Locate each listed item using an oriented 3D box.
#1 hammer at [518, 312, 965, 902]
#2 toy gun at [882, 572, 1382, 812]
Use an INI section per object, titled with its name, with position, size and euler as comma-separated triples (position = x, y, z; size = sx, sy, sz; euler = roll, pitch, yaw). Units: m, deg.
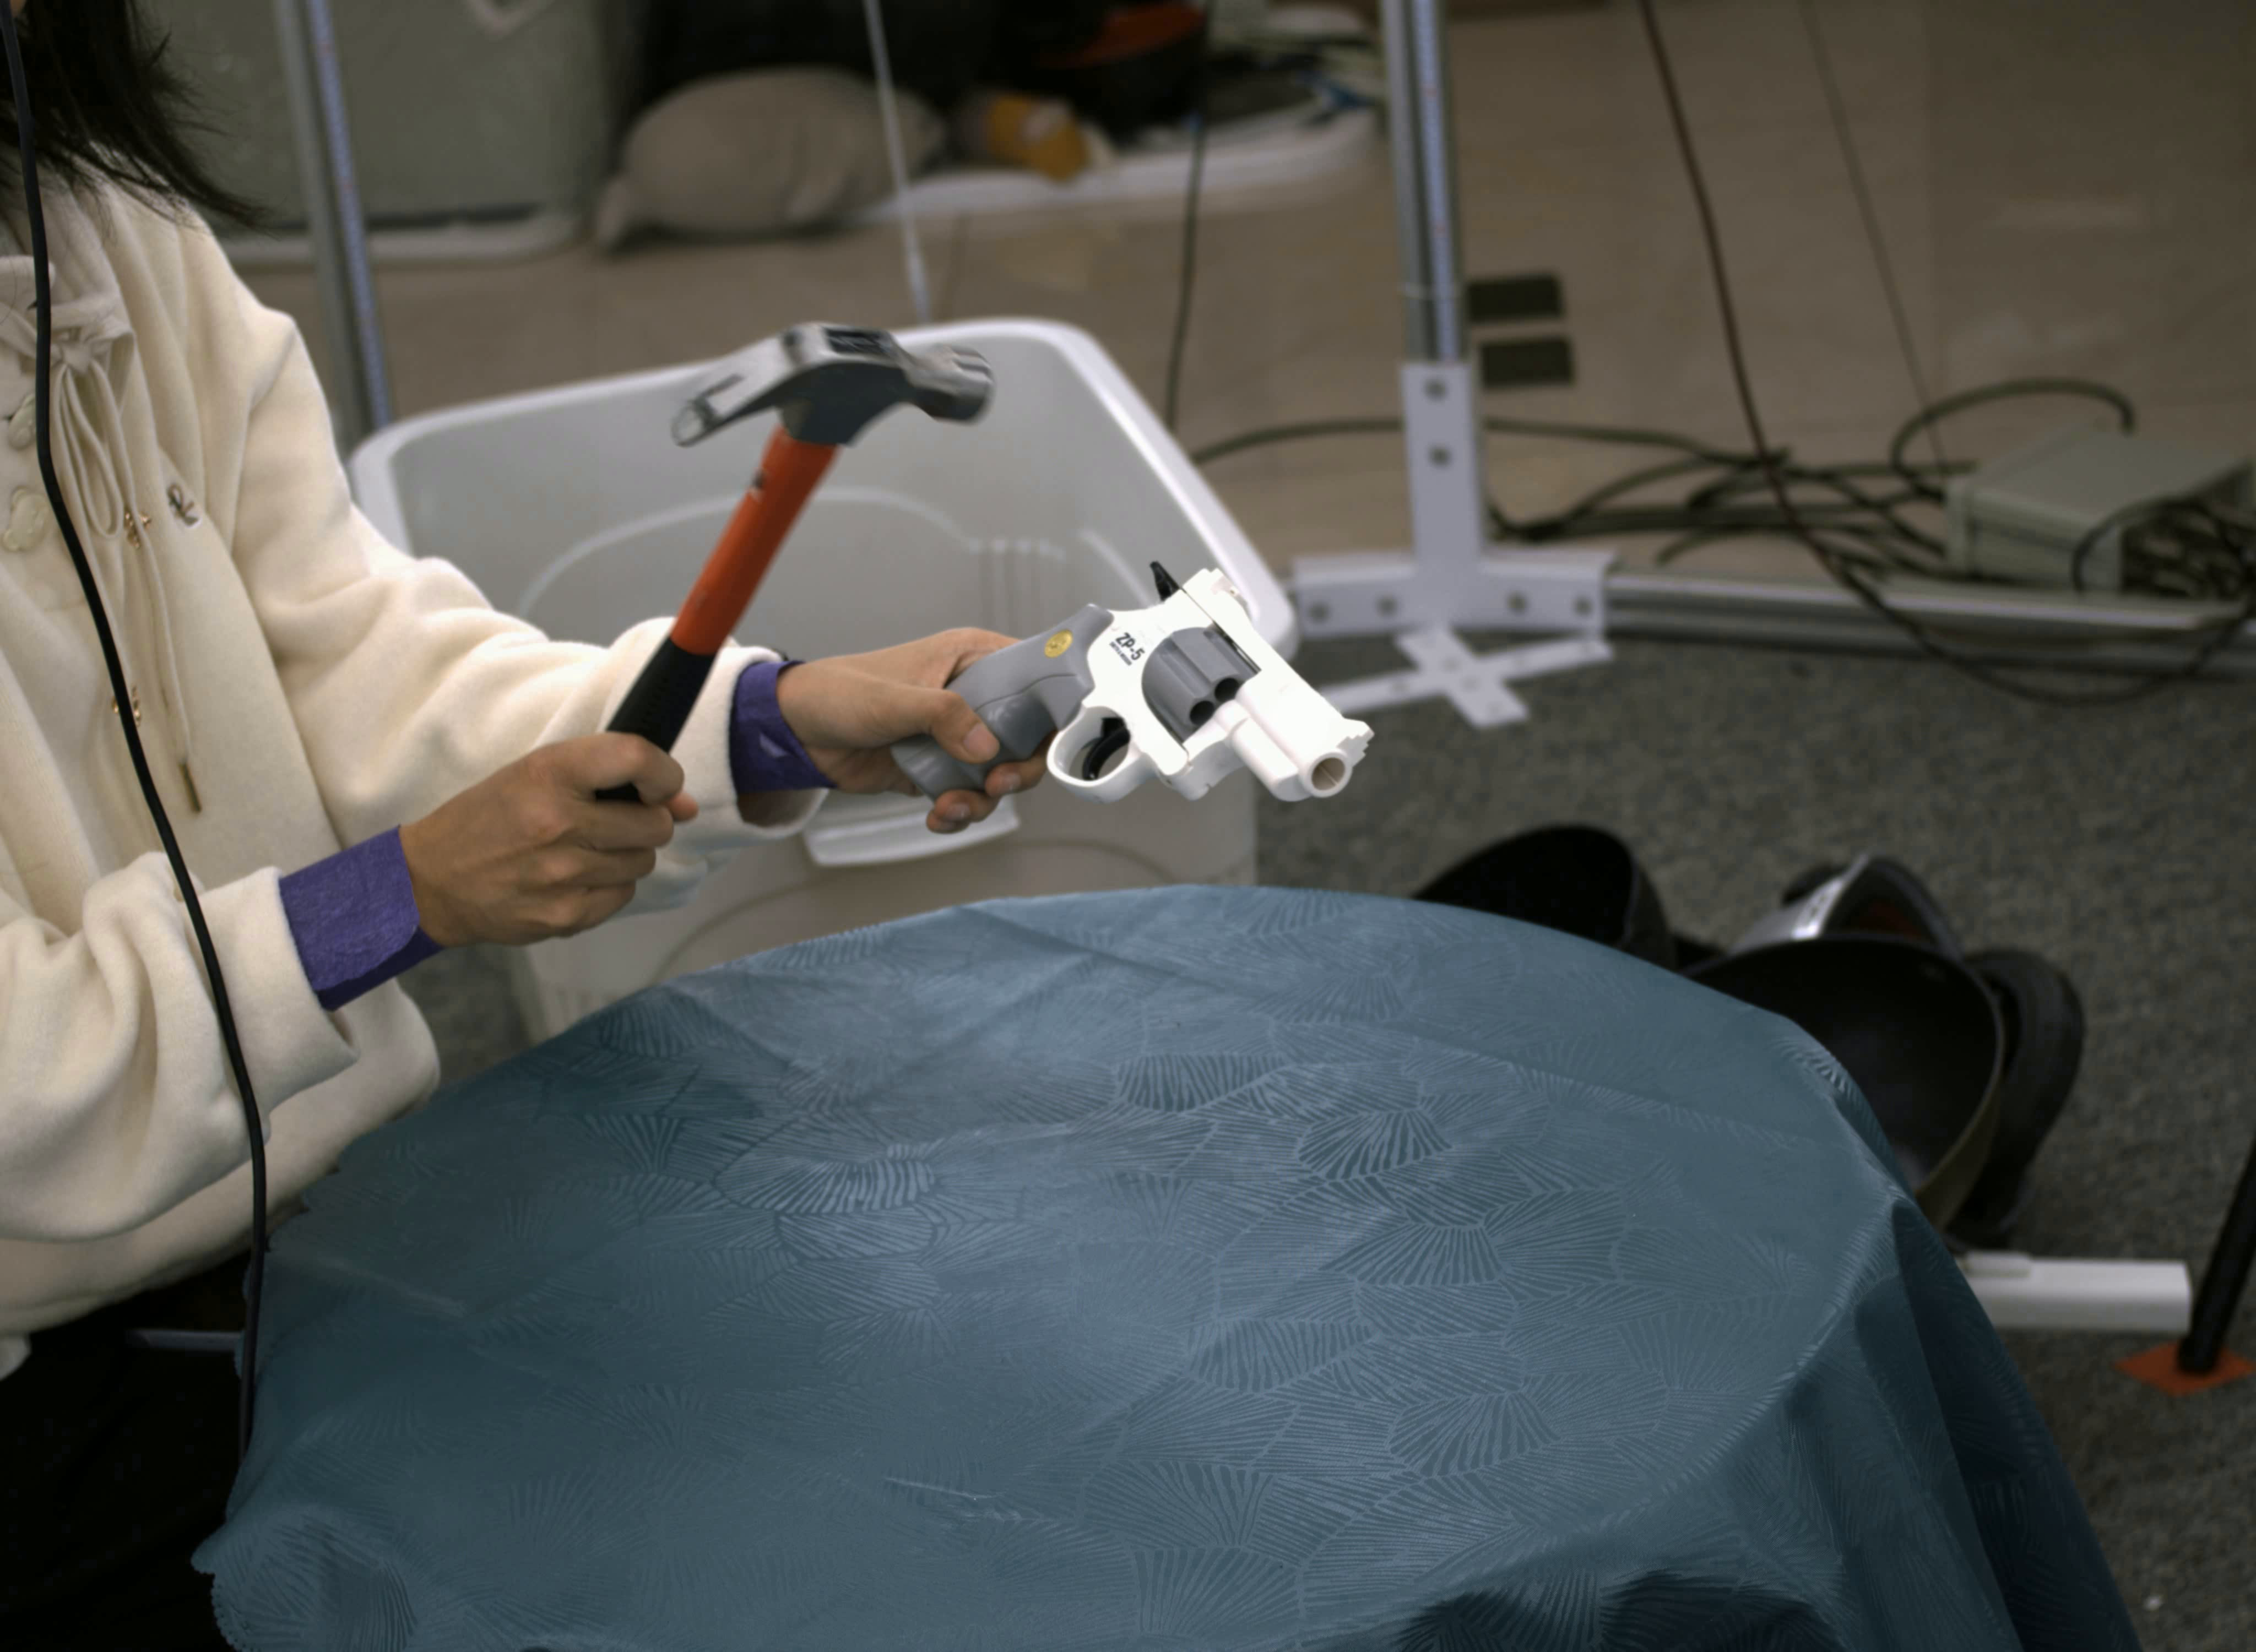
[hammer]
position = -0.158, -0.075, 2.017
size = 0.110, 0.282, 0.026
euler = -7, 51, -39
[toy gun]
position = -0.002, -0.034, 2.127
size = 0.141, 0.039, 0.206
euler = -42, 37, -2
